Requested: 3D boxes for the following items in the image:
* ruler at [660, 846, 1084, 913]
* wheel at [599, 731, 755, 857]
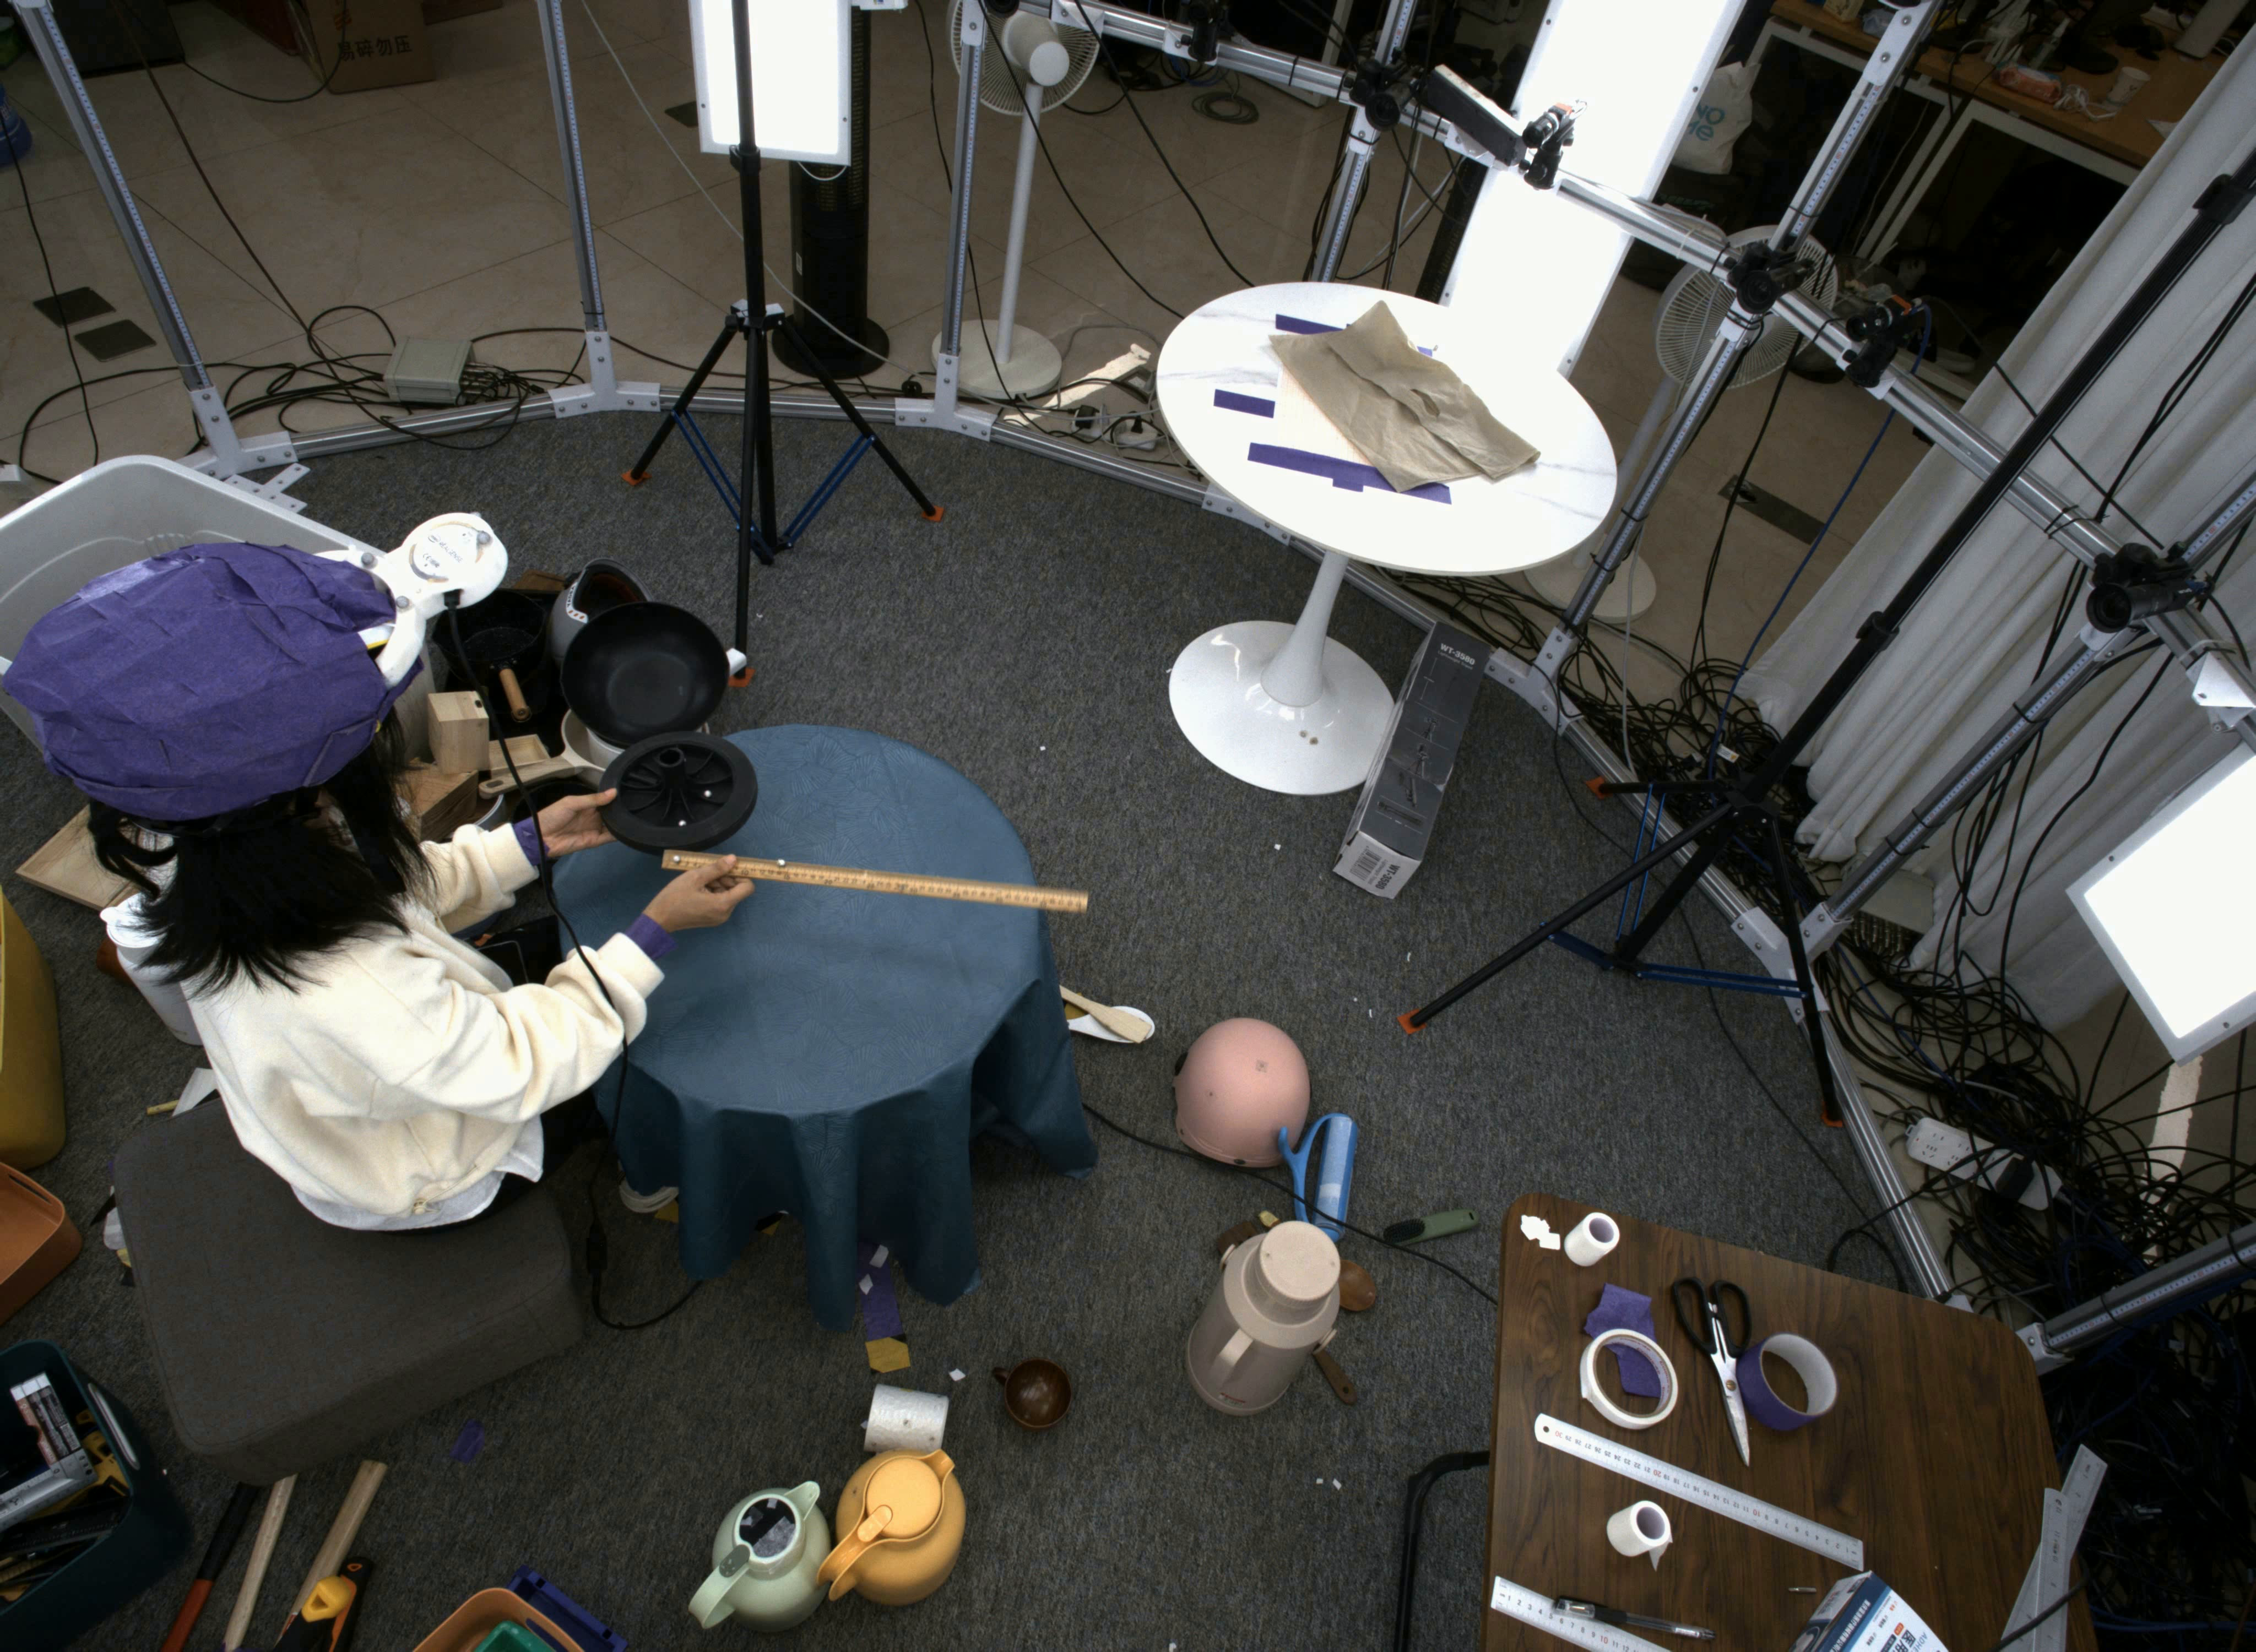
[{"bbox_3d":[-0.296,0.060,1.483,0.494,0.006,0.026,6,63,2],"label":"ruler"},{"bbox_3d":[-0.546,-0.057,1.539,0.189,0.081,0.183,0,51,-9],"label":"wheel"}]
